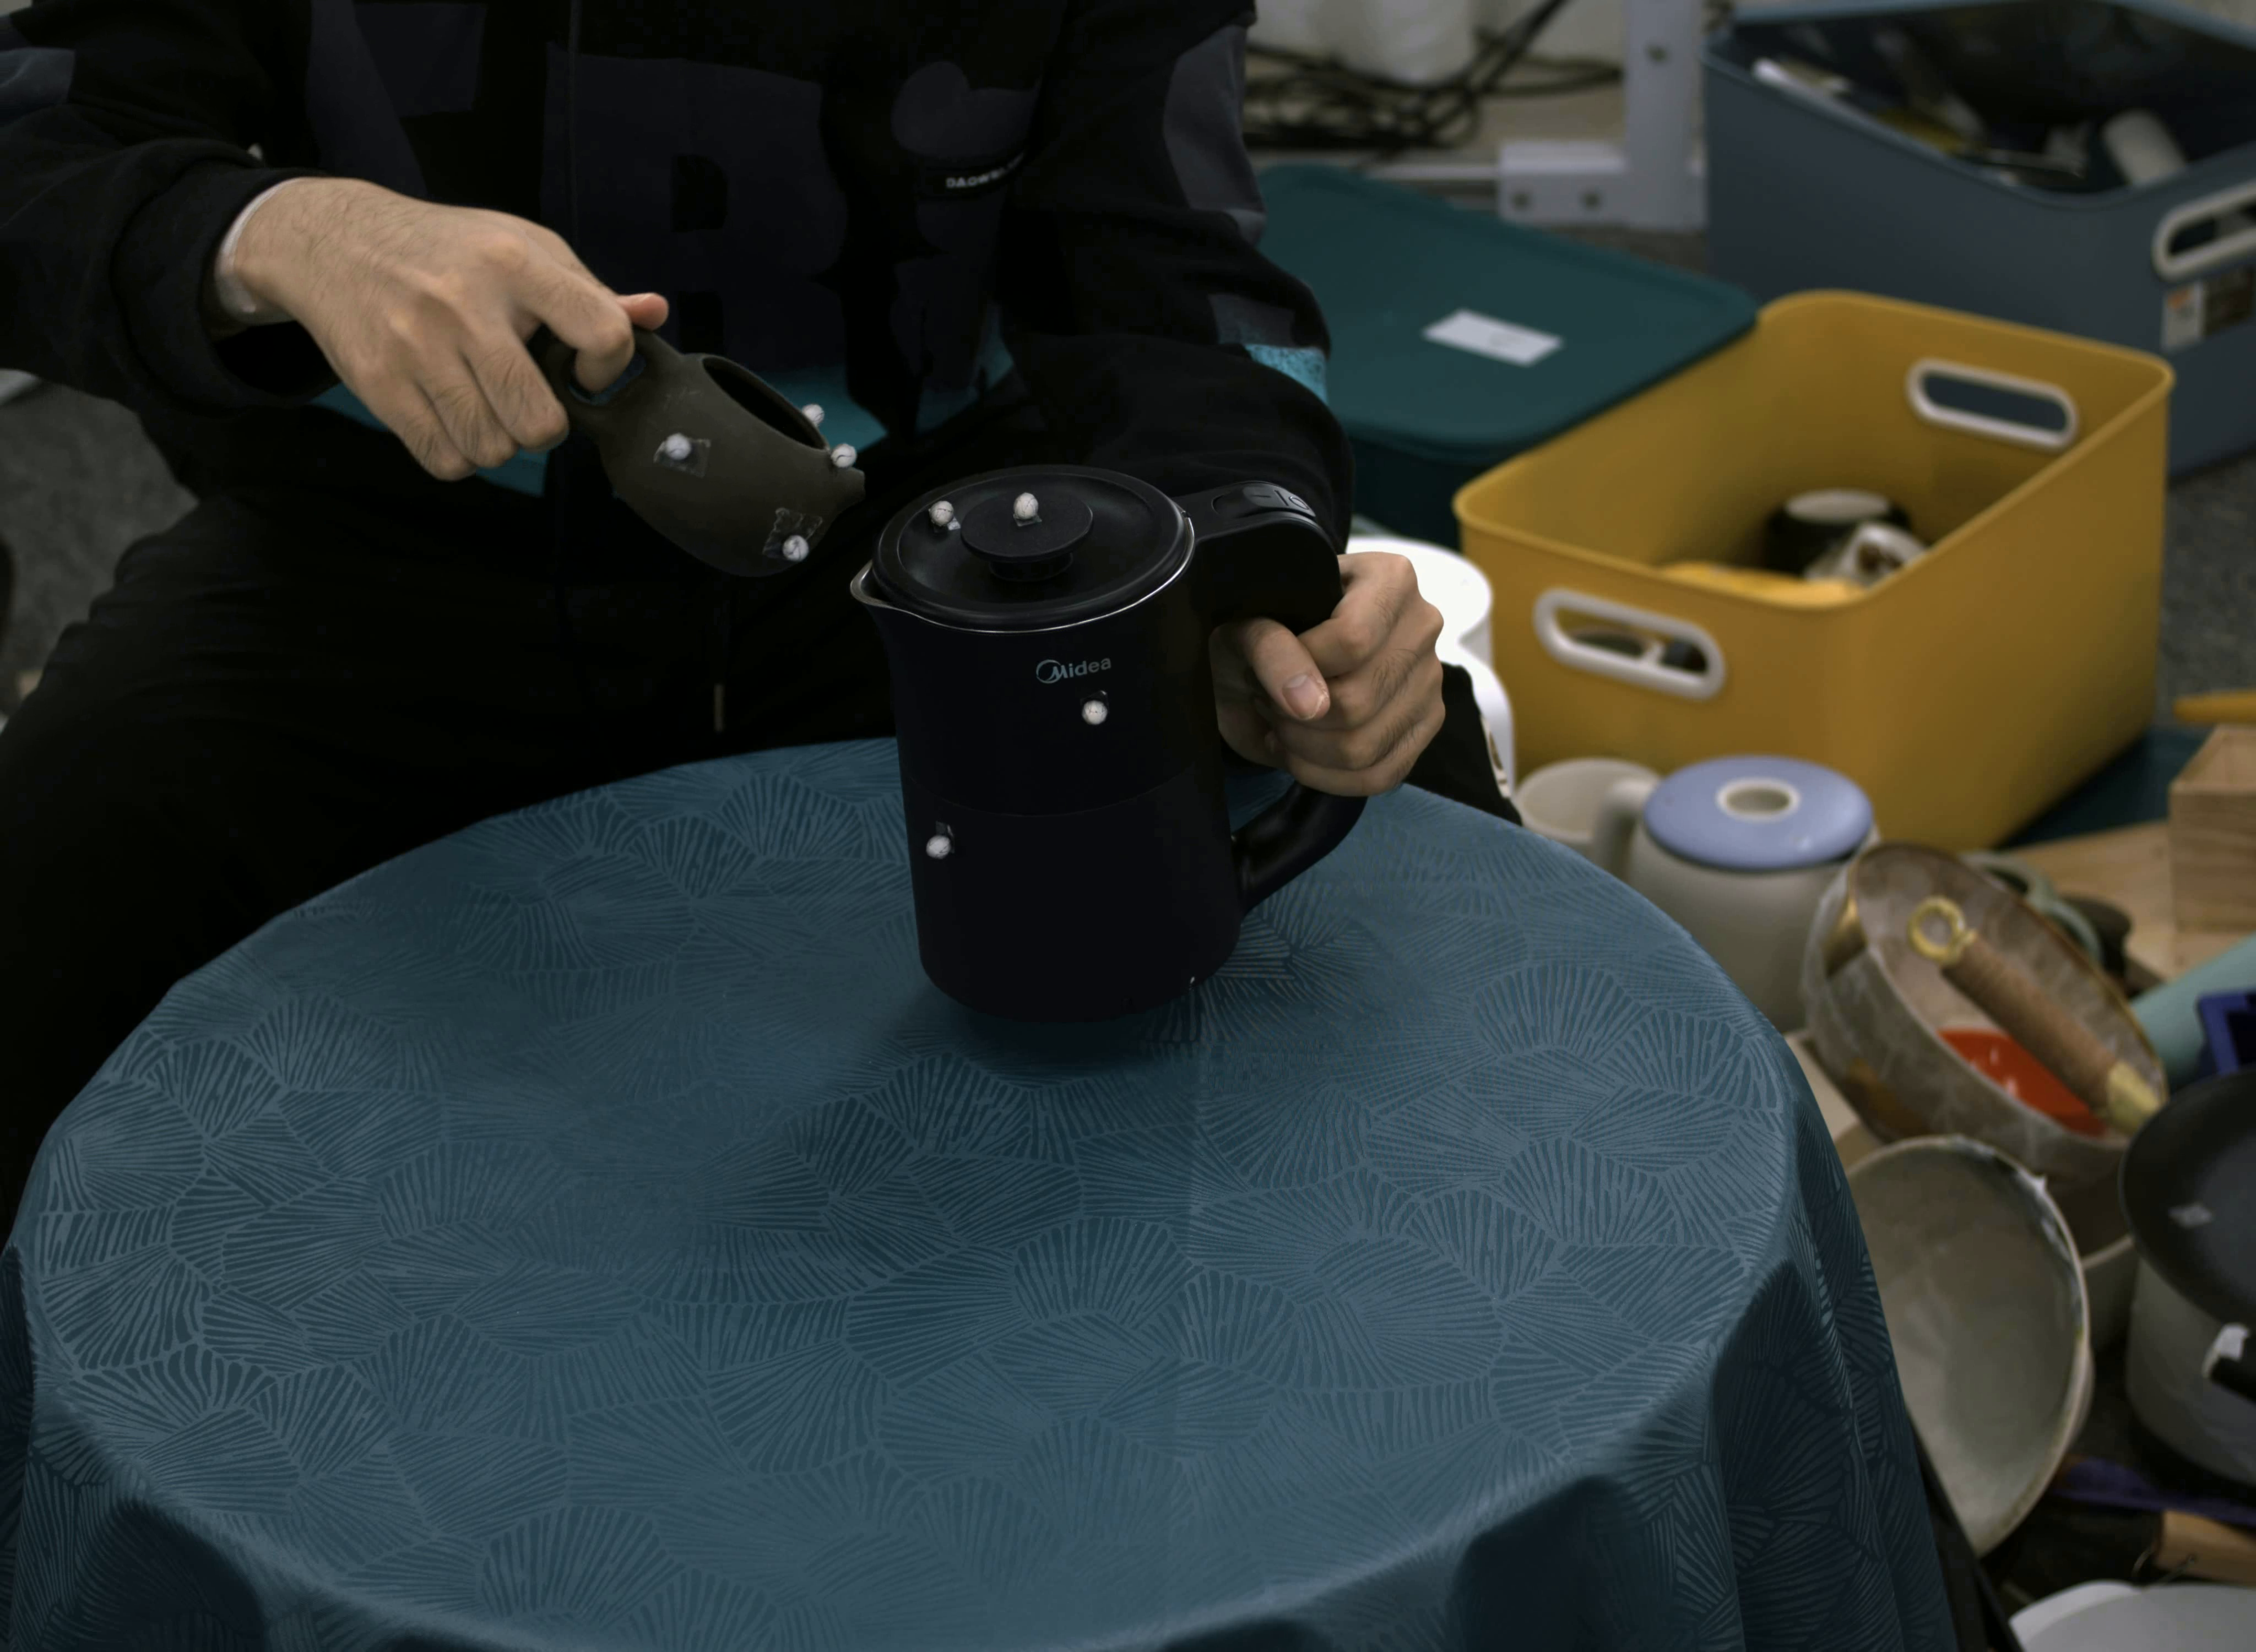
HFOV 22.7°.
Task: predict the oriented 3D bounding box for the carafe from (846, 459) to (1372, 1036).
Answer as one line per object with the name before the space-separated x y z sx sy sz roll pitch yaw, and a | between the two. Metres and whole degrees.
carafe | -0.004 -0.038 1.928 0.172 0.171 0.116 -16 30 -13

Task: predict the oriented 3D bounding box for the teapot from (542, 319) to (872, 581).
teapot | -0.141 -0.125 1.849 0.113 0.052 0.084 37 12 -13
